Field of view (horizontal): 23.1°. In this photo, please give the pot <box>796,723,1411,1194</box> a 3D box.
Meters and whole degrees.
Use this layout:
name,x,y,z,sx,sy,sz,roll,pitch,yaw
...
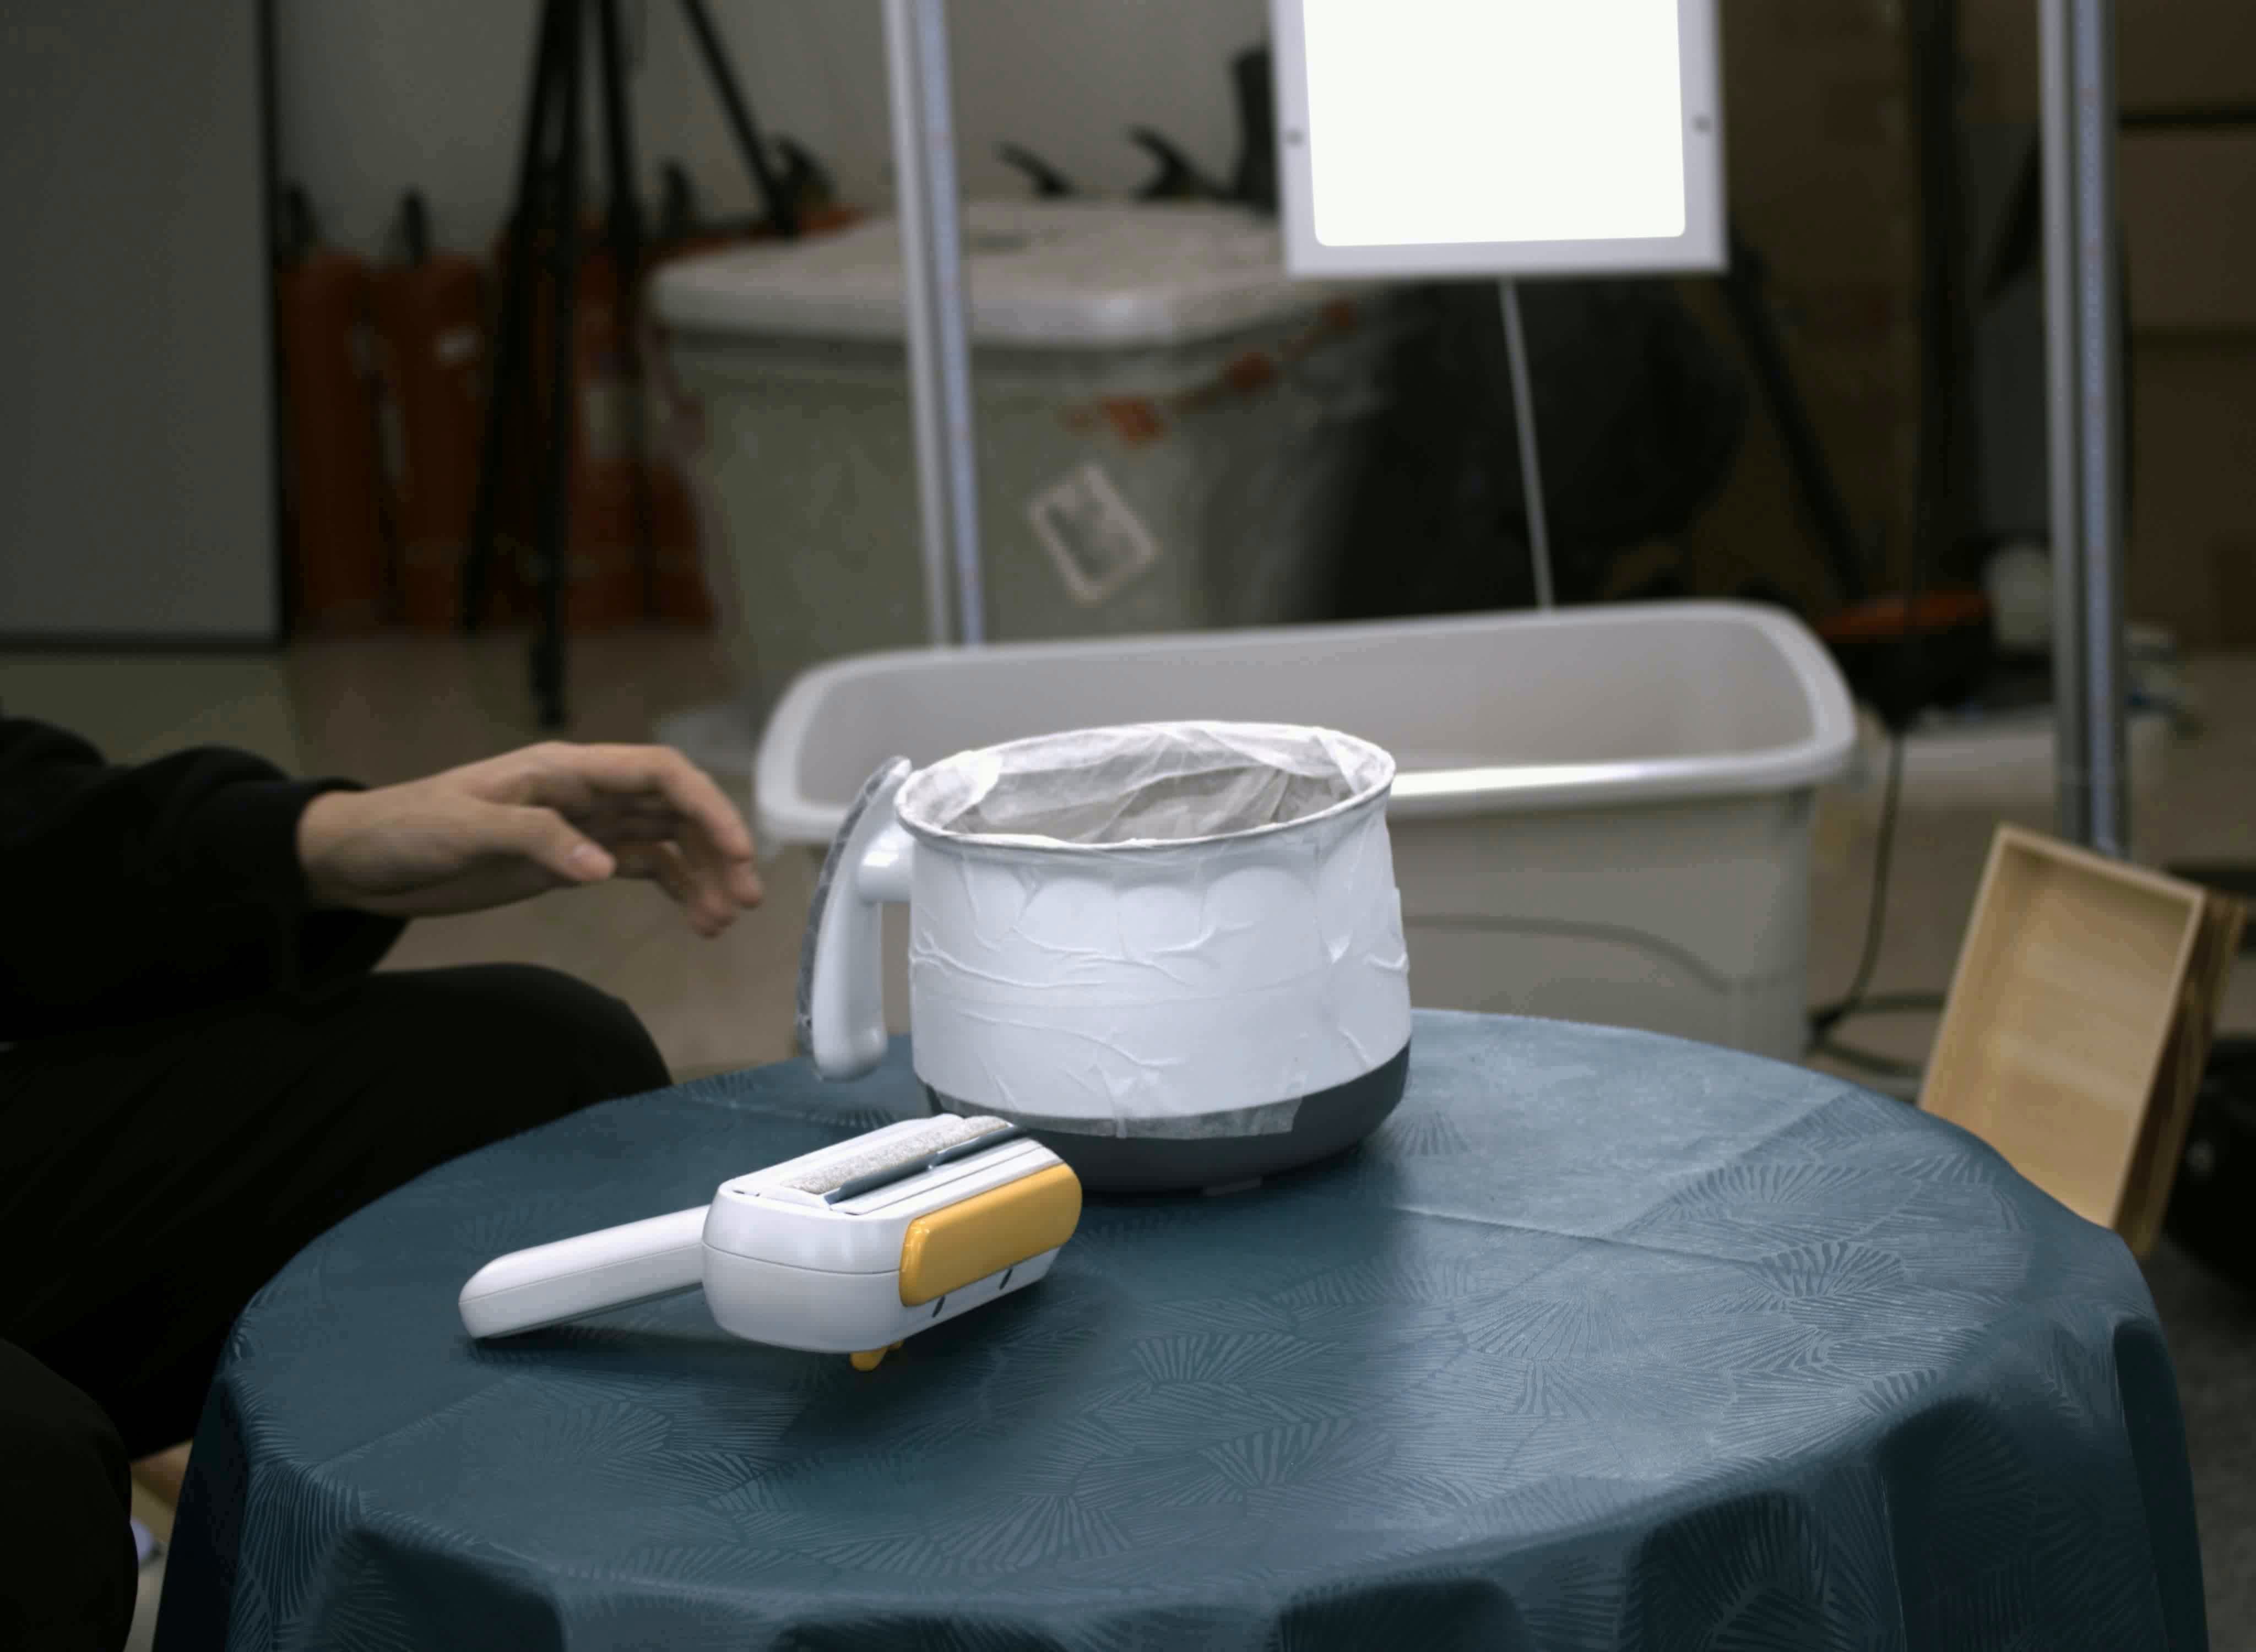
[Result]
name,x,y,z,sx,sy,sz,roll,pitch,yaw
pot,-0.014,0.043,1.945,0.238,0.137,0.175,4,14,27

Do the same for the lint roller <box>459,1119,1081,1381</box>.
name,x,y,z,sx,sy,sz,roll,pitch,yaw
lint roller,-0.129,0.136,1.764,0.195,0.074,0.189,0,9,26
